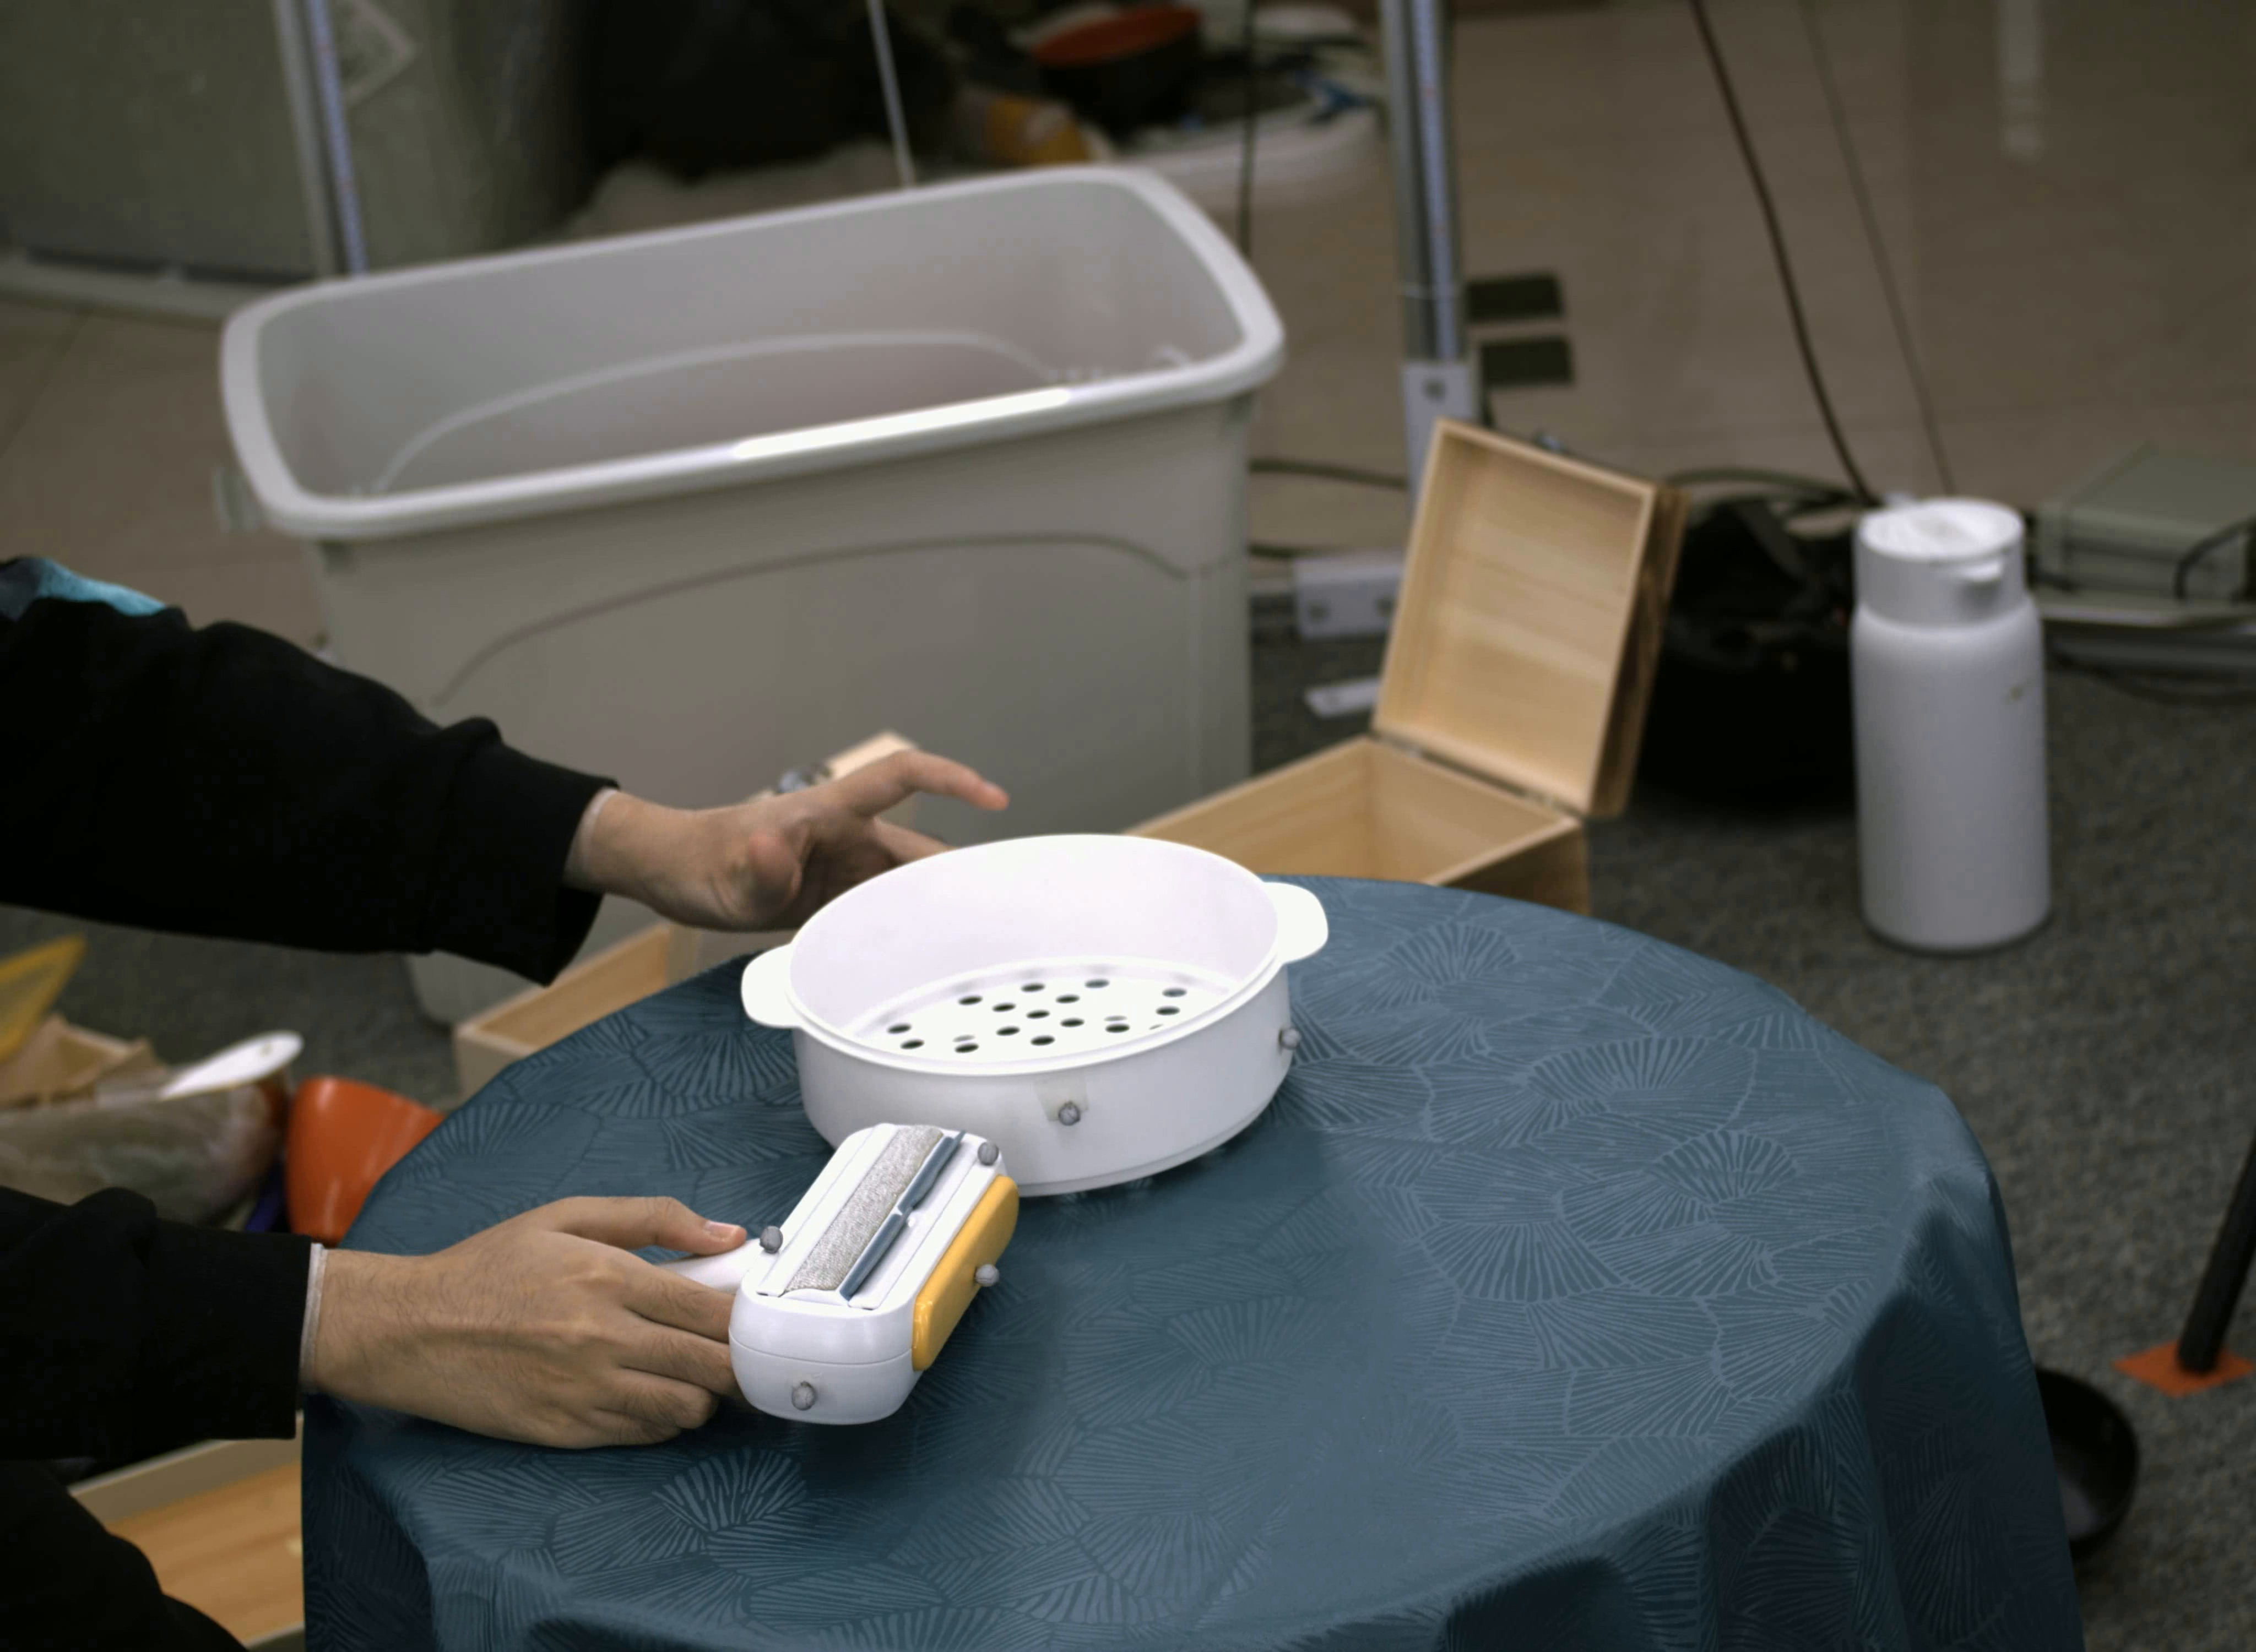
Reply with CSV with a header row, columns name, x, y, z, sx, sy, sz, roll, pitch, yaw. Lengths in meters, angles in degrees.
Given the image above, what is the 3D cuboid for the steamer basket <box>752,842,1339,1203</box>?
name,x,y,z,sx,sy,sz,roll,pitch,yaw
steamer basket,-0.028,0.077,2.209,0.230,0.070,0.199,-9,24,0

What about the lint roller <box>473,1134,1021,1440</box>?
name,x,y,z,sx,sy,sz,roll,pitch,yaw
lint roller,-0.148,0.168,2.038,0.192,0.075,0.190,-1,21,17
